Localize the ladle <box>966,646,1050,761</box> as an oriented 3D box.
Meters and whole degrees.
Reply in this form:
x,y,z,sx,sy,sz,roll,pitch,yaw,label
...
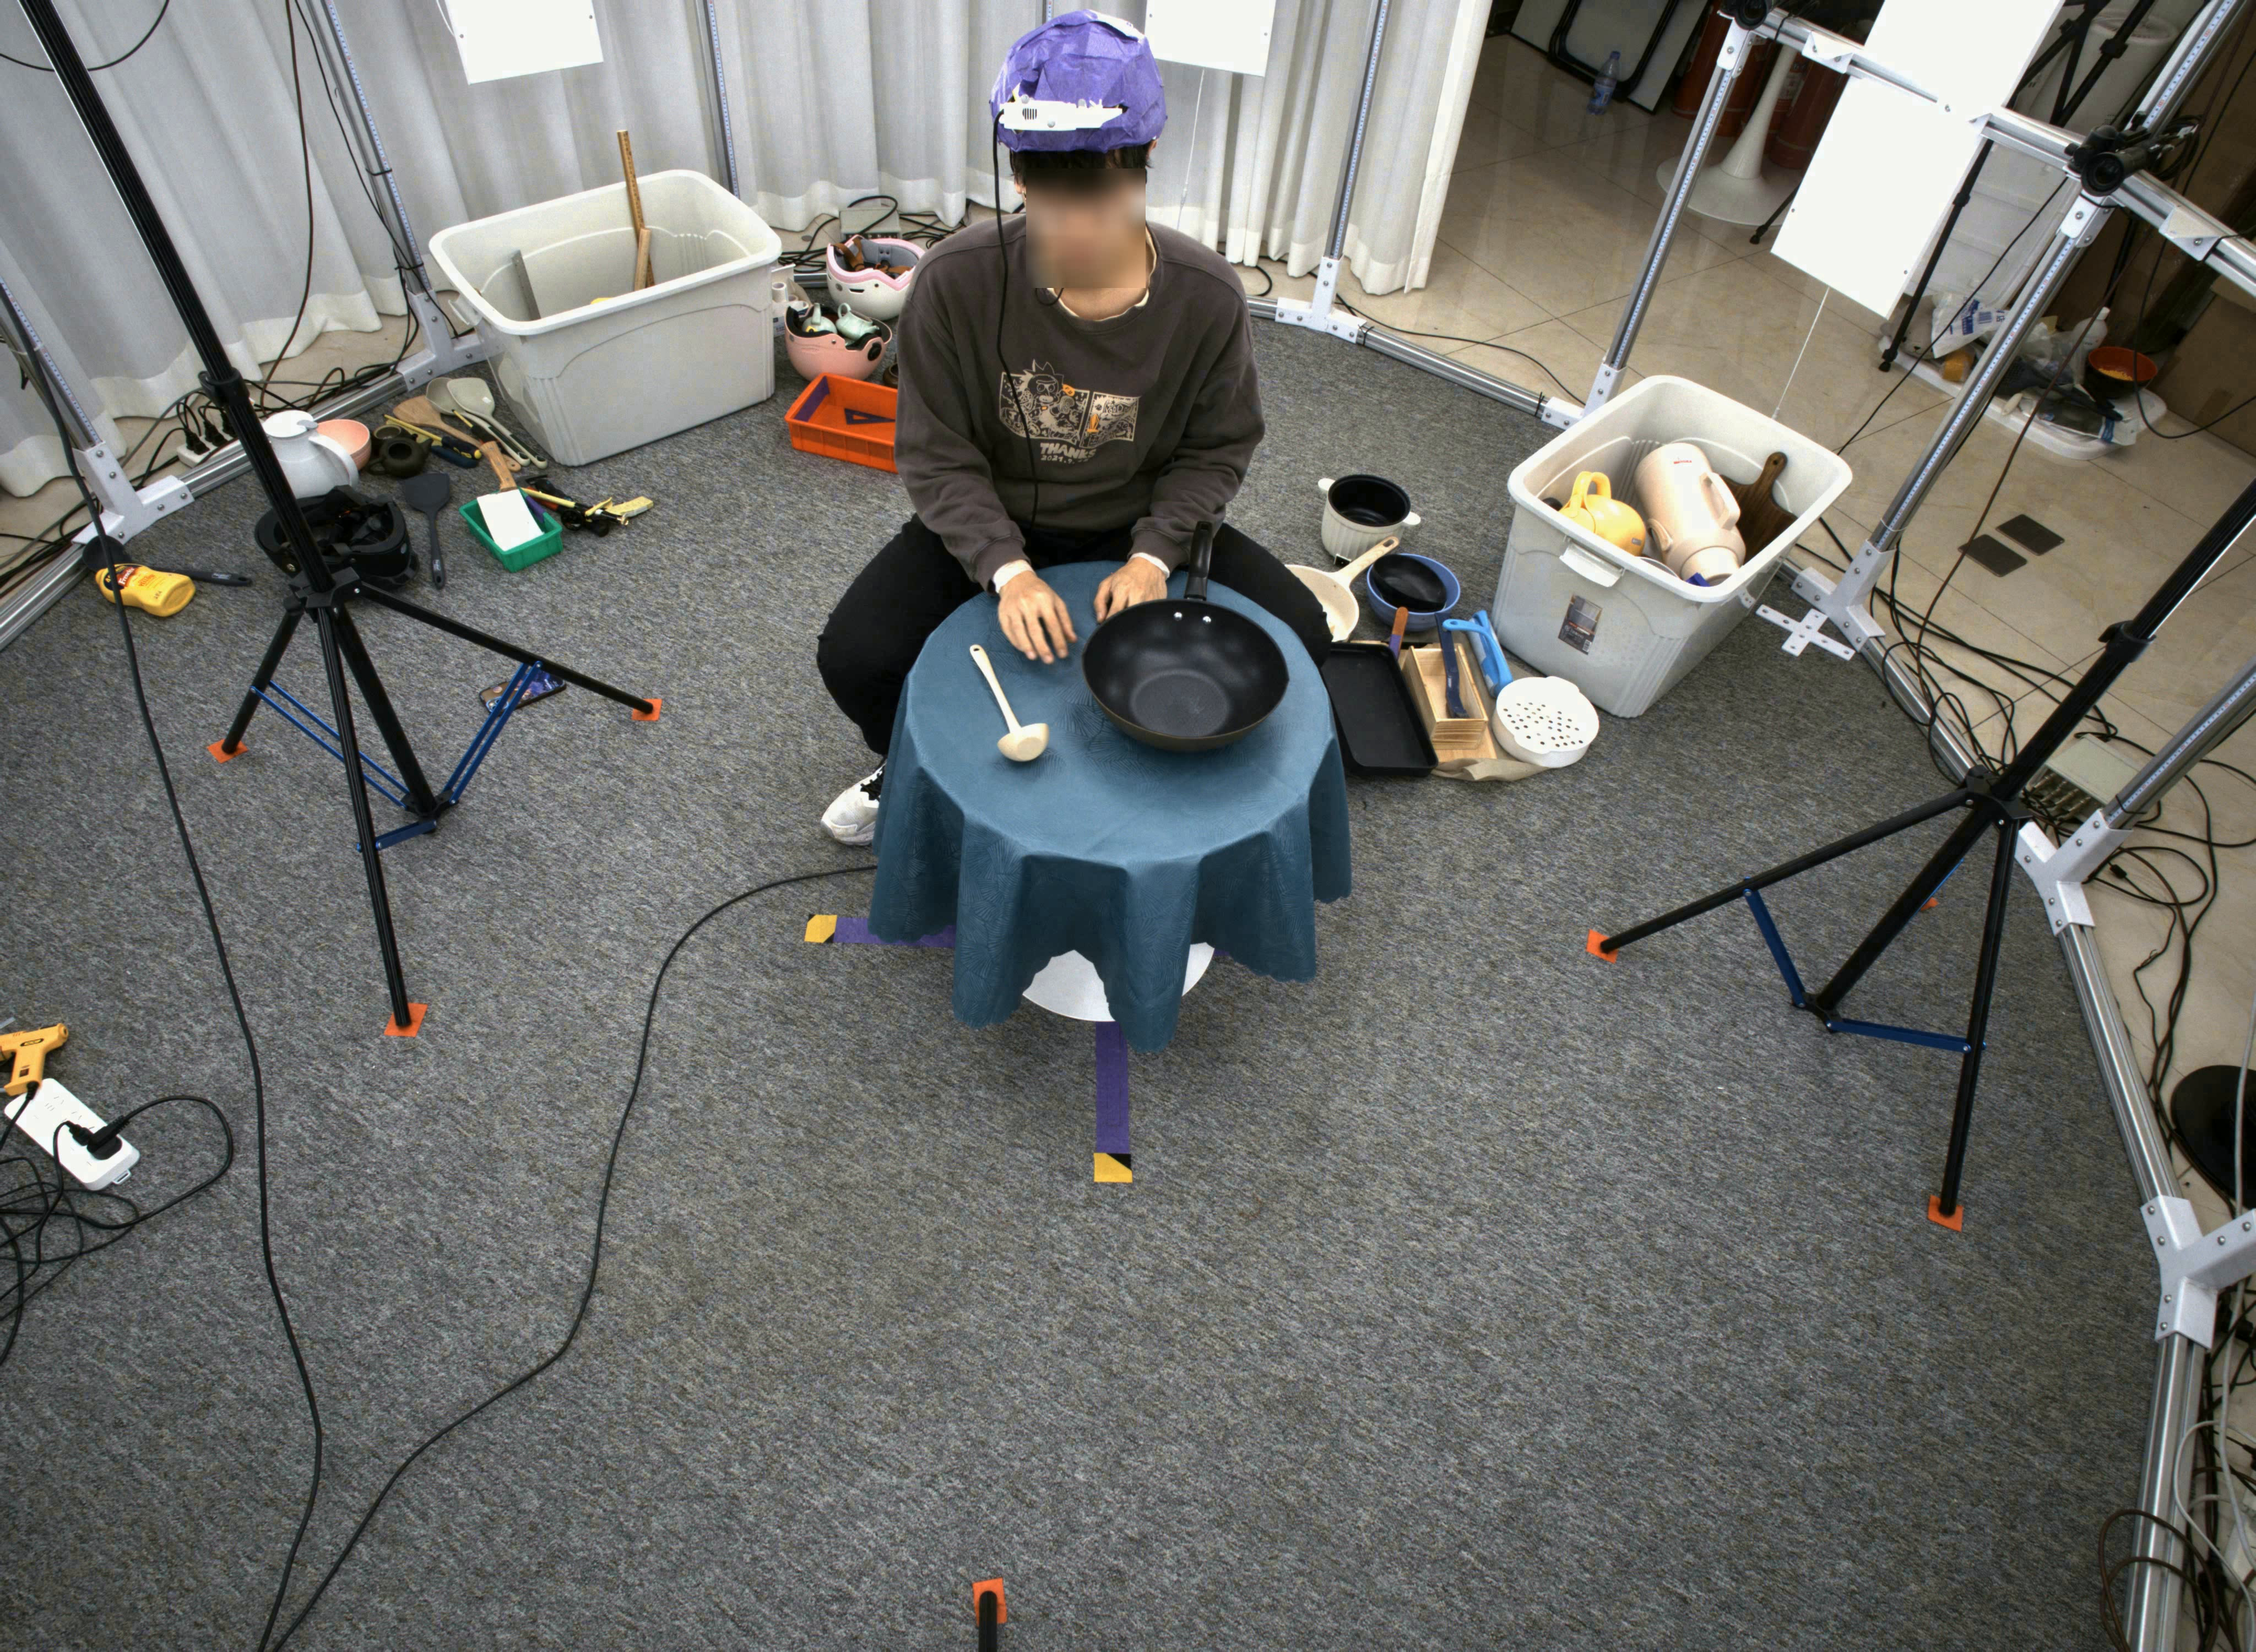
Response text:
x,y,z,sx,sy,sz,roll,pitch,yaw,label
-0.180,-0.191,1.774,0.072,0.071,0.260,-23,54,-10,ladle

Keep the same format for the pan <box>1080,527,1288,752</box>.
x,y,z,sx,sy,sz,roll,pitch,yaw,label
0.086,-0.264,1.848,0.288,0.085,0.474,7,48,3,pan
